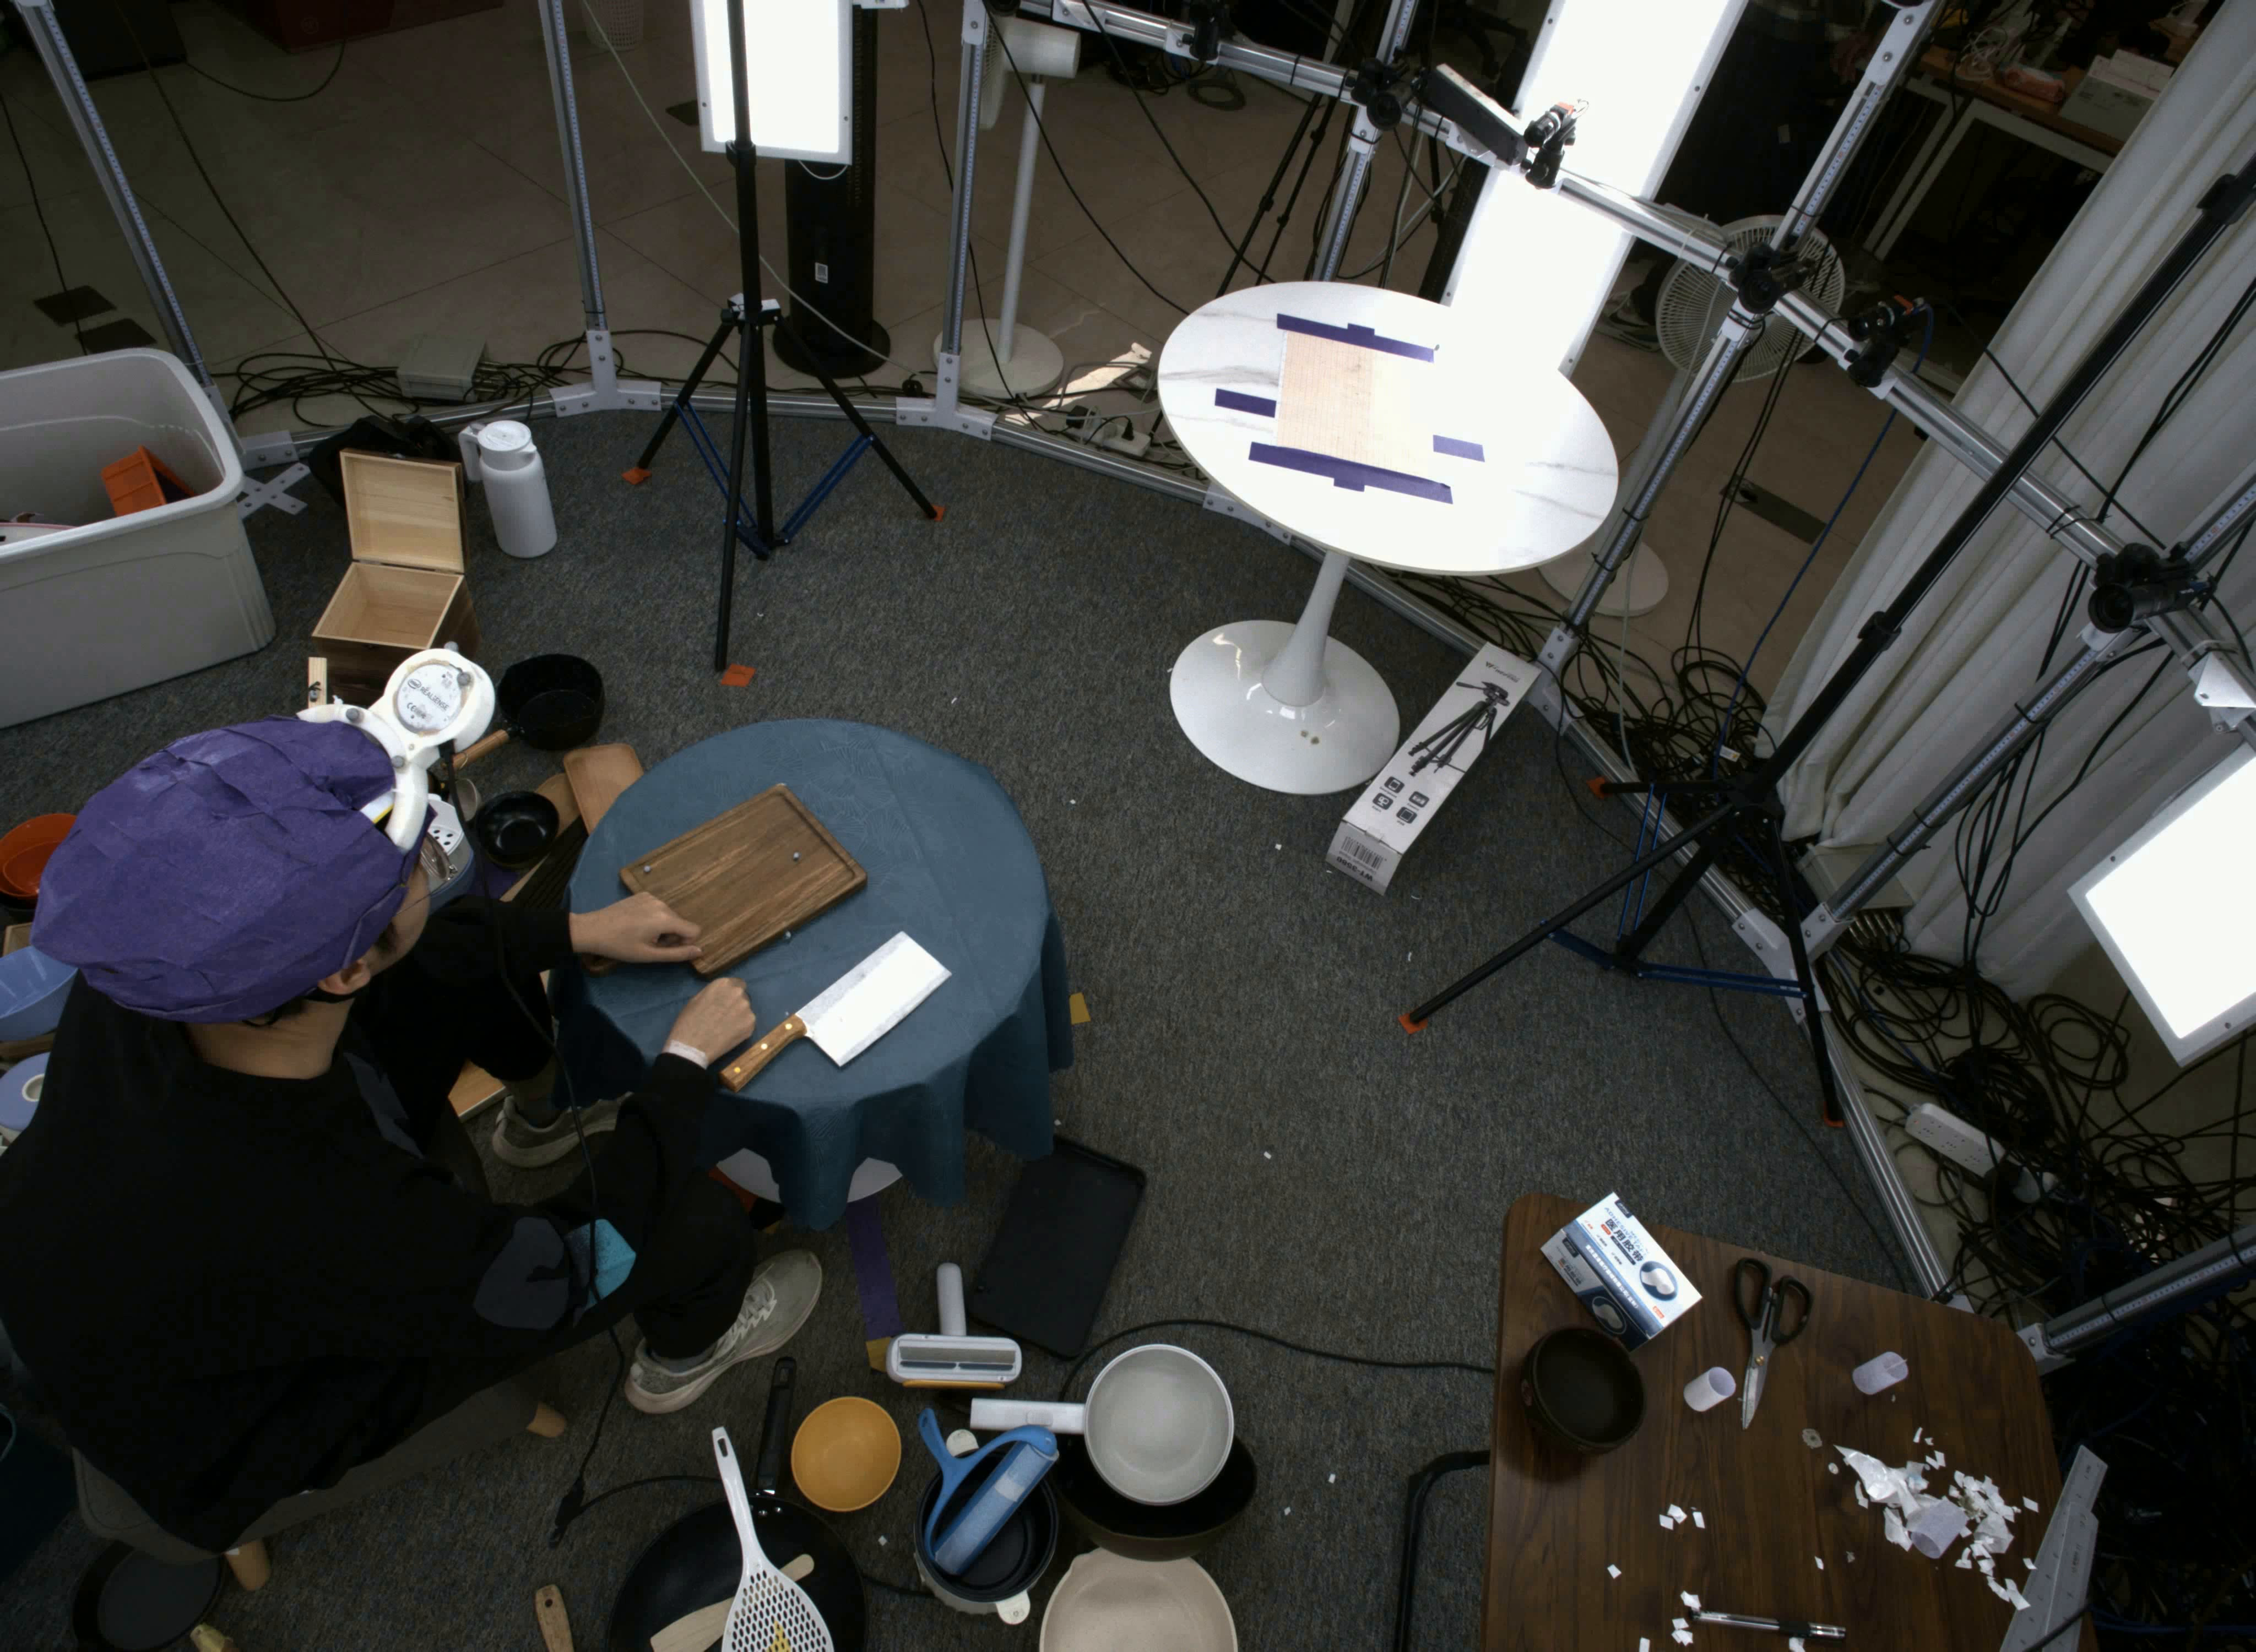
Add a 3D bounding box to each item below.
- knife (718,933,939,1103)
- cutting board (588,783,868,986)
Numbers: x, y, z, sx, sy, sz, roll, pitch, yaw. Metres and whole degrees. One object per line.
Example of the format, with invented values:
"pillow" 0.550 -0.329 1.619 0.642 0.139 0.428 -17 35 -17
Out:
"knife" -0.346 0.236 1.548 0.091 0.021 0.306 39 52 13
"cutting board" -0.521 0.088 1.608 0.196 0.023 0.353 43 55 18
